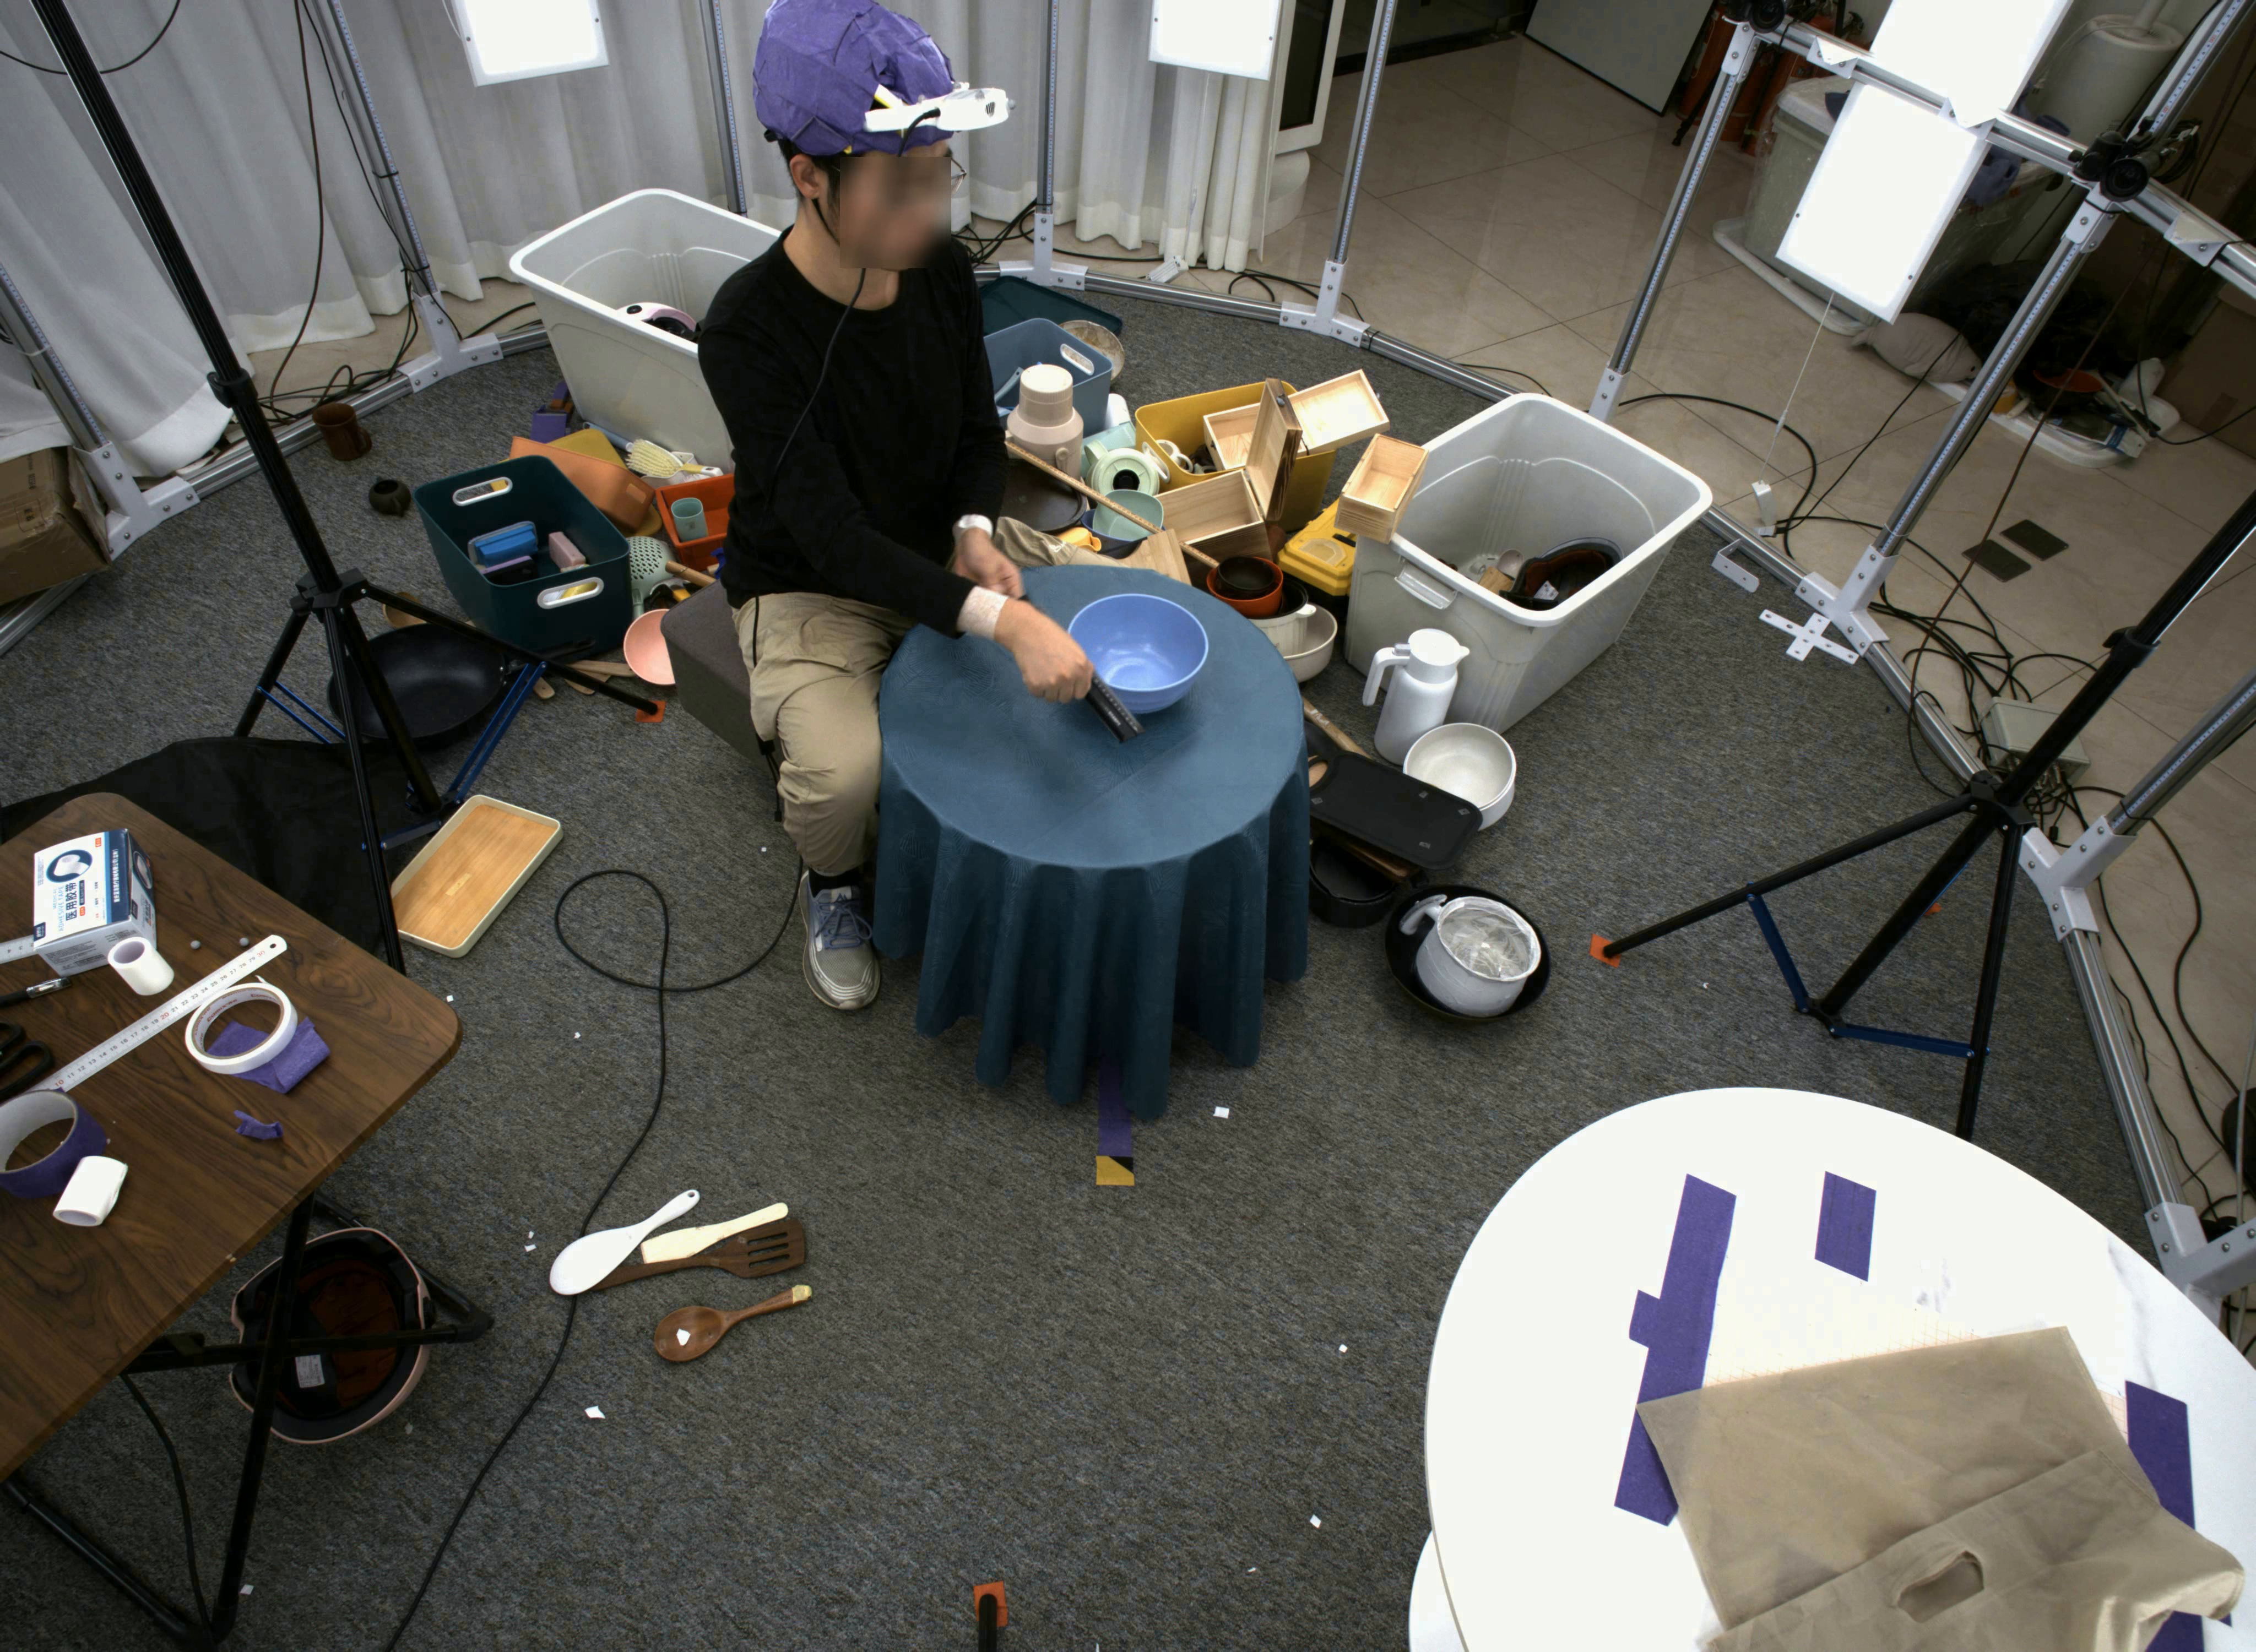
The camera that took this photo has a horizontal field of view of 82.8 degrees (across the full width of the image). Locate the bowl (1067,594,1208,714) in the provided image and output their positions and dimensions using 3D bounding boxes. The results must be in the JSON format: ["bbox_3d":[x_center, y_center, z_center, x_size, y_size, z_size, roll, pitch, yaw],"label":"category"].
[{"bbox_3d":[0.010,-0.227,1.806,0.196,0.093,0.201,2,49,-3],"label":"bowl"}]

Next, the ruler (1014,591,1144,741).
[{"bbox_3d":[-0.067,-0.220,1.687,0.039,0.017,0.319,-21,51,-18],"label":"ruler"}]
